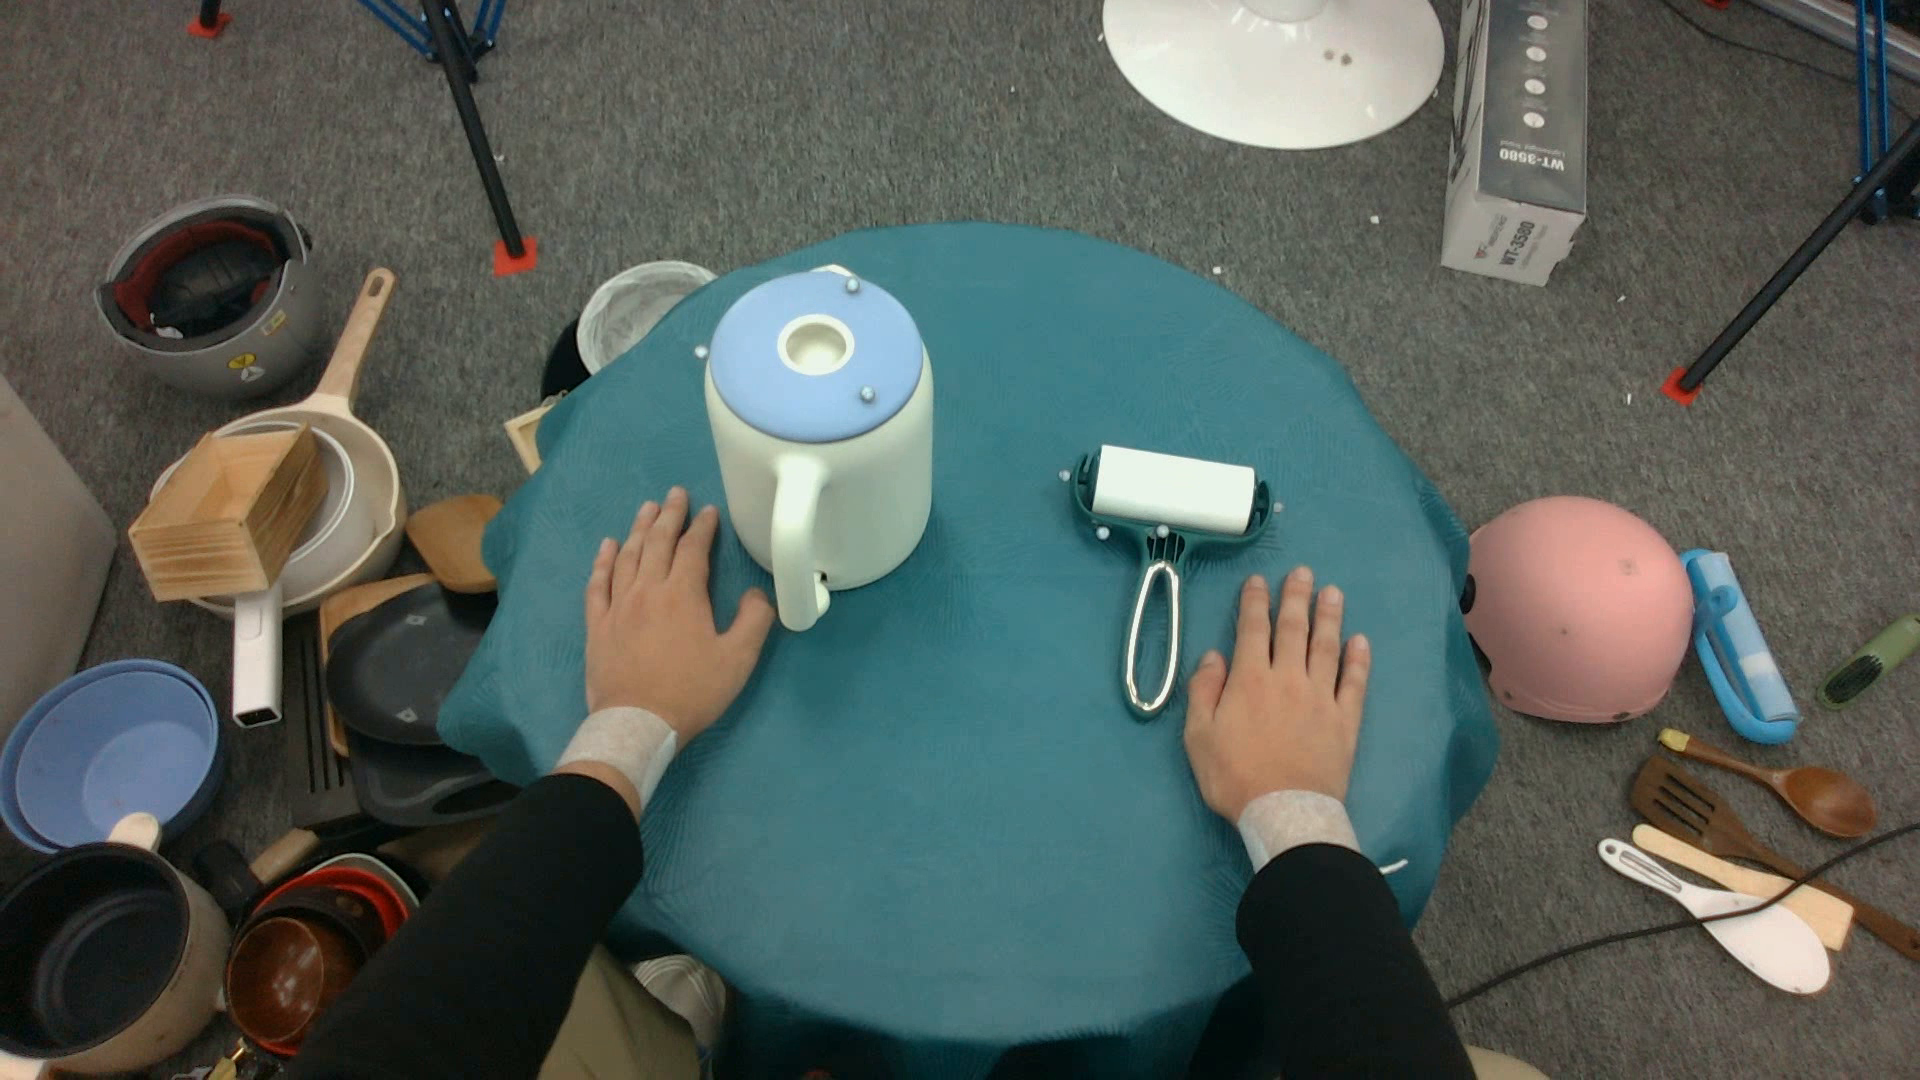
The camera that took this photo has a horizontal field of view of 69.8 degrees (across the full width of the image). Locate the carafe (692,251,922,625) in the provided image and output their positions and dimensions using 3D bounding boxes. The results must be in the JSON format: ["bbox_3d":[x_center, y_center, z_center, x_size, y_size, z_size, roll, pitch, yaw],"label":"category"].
[{"bbox_3d":[-0.091,-0.047,0.818,0.132,0.182,0.192,4,62,0],"label":"carafe"}]

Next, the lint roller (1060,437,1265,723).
[{"bbox_3d":[0.120,0.023,0.863,0.134,0.048,0.181,9,62,2],"label":"lint roller"}]
